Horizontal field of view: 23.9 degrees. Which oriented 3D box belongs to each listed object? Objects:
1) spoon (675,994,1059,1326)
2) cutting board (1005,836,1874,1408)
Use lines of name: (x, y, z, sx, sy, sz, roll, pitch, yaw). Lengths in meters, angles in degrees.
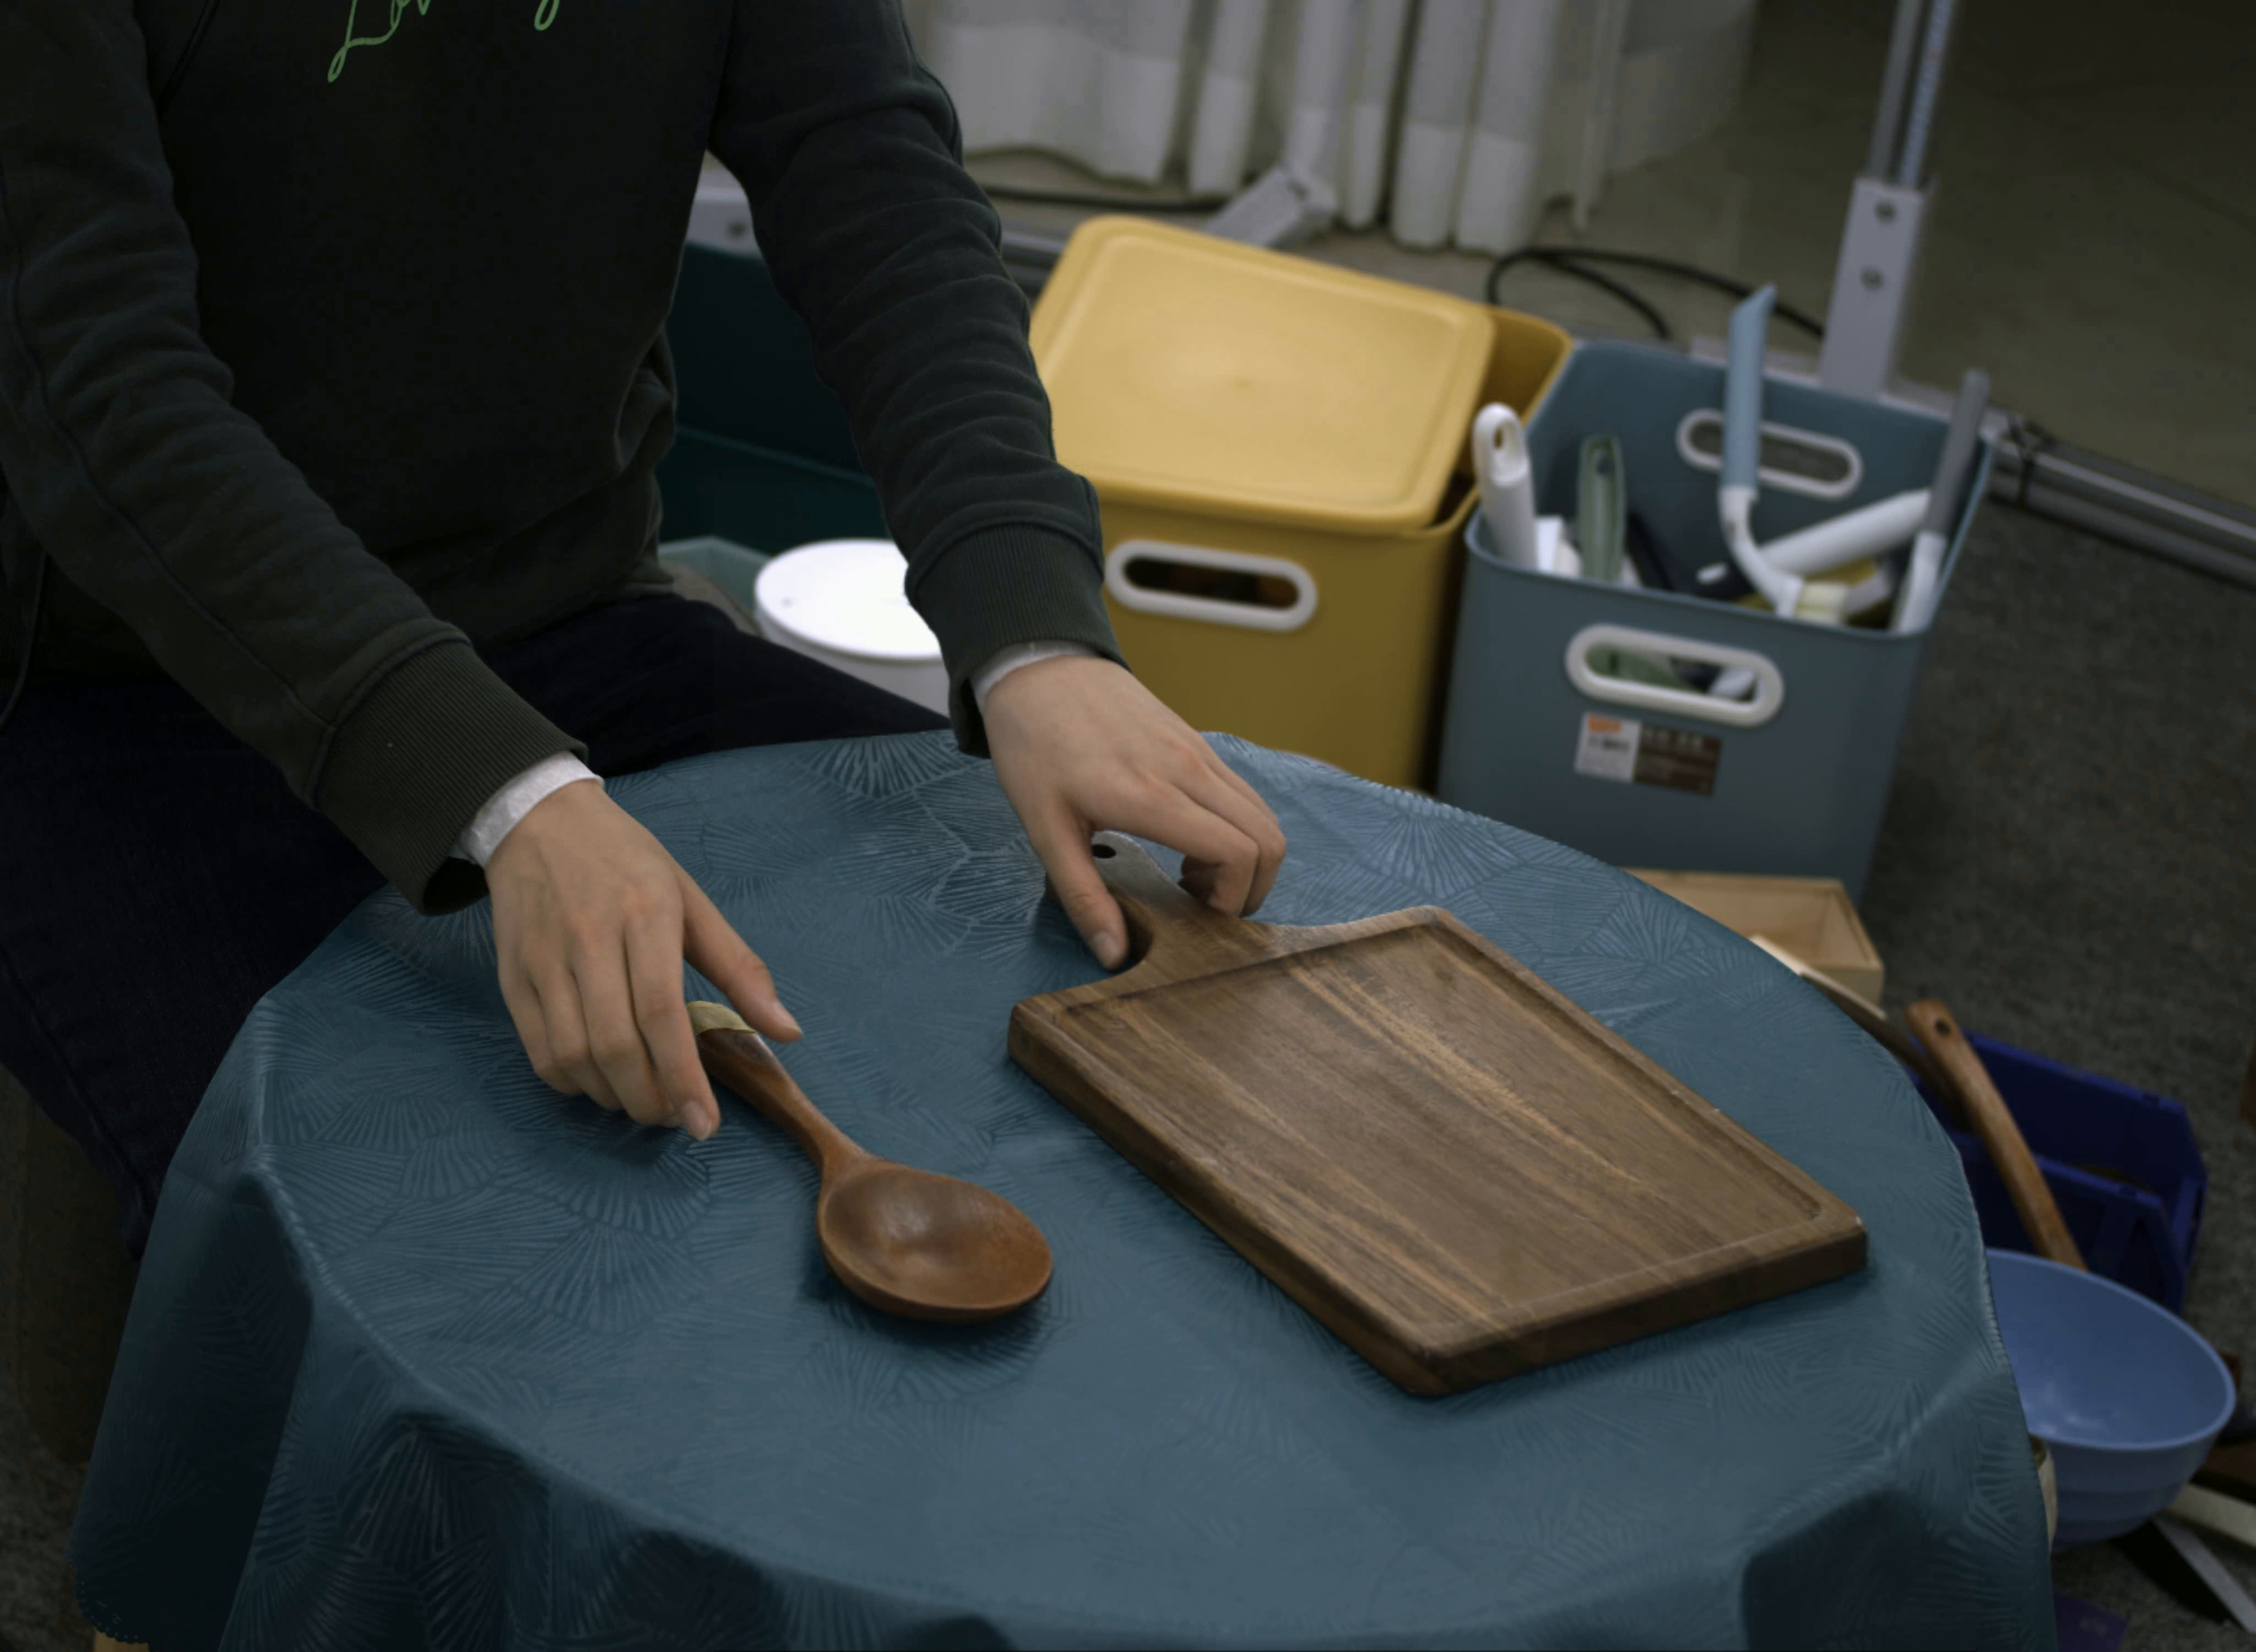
spoon: (-0.095, 0.112, 1.782, 0.075, 0.017, 0.218, -12, 33, -29)
cutting board: (0.077, 0.087, 1.871, 0.200, 0.023, 0.355, -13, 32, -32)
